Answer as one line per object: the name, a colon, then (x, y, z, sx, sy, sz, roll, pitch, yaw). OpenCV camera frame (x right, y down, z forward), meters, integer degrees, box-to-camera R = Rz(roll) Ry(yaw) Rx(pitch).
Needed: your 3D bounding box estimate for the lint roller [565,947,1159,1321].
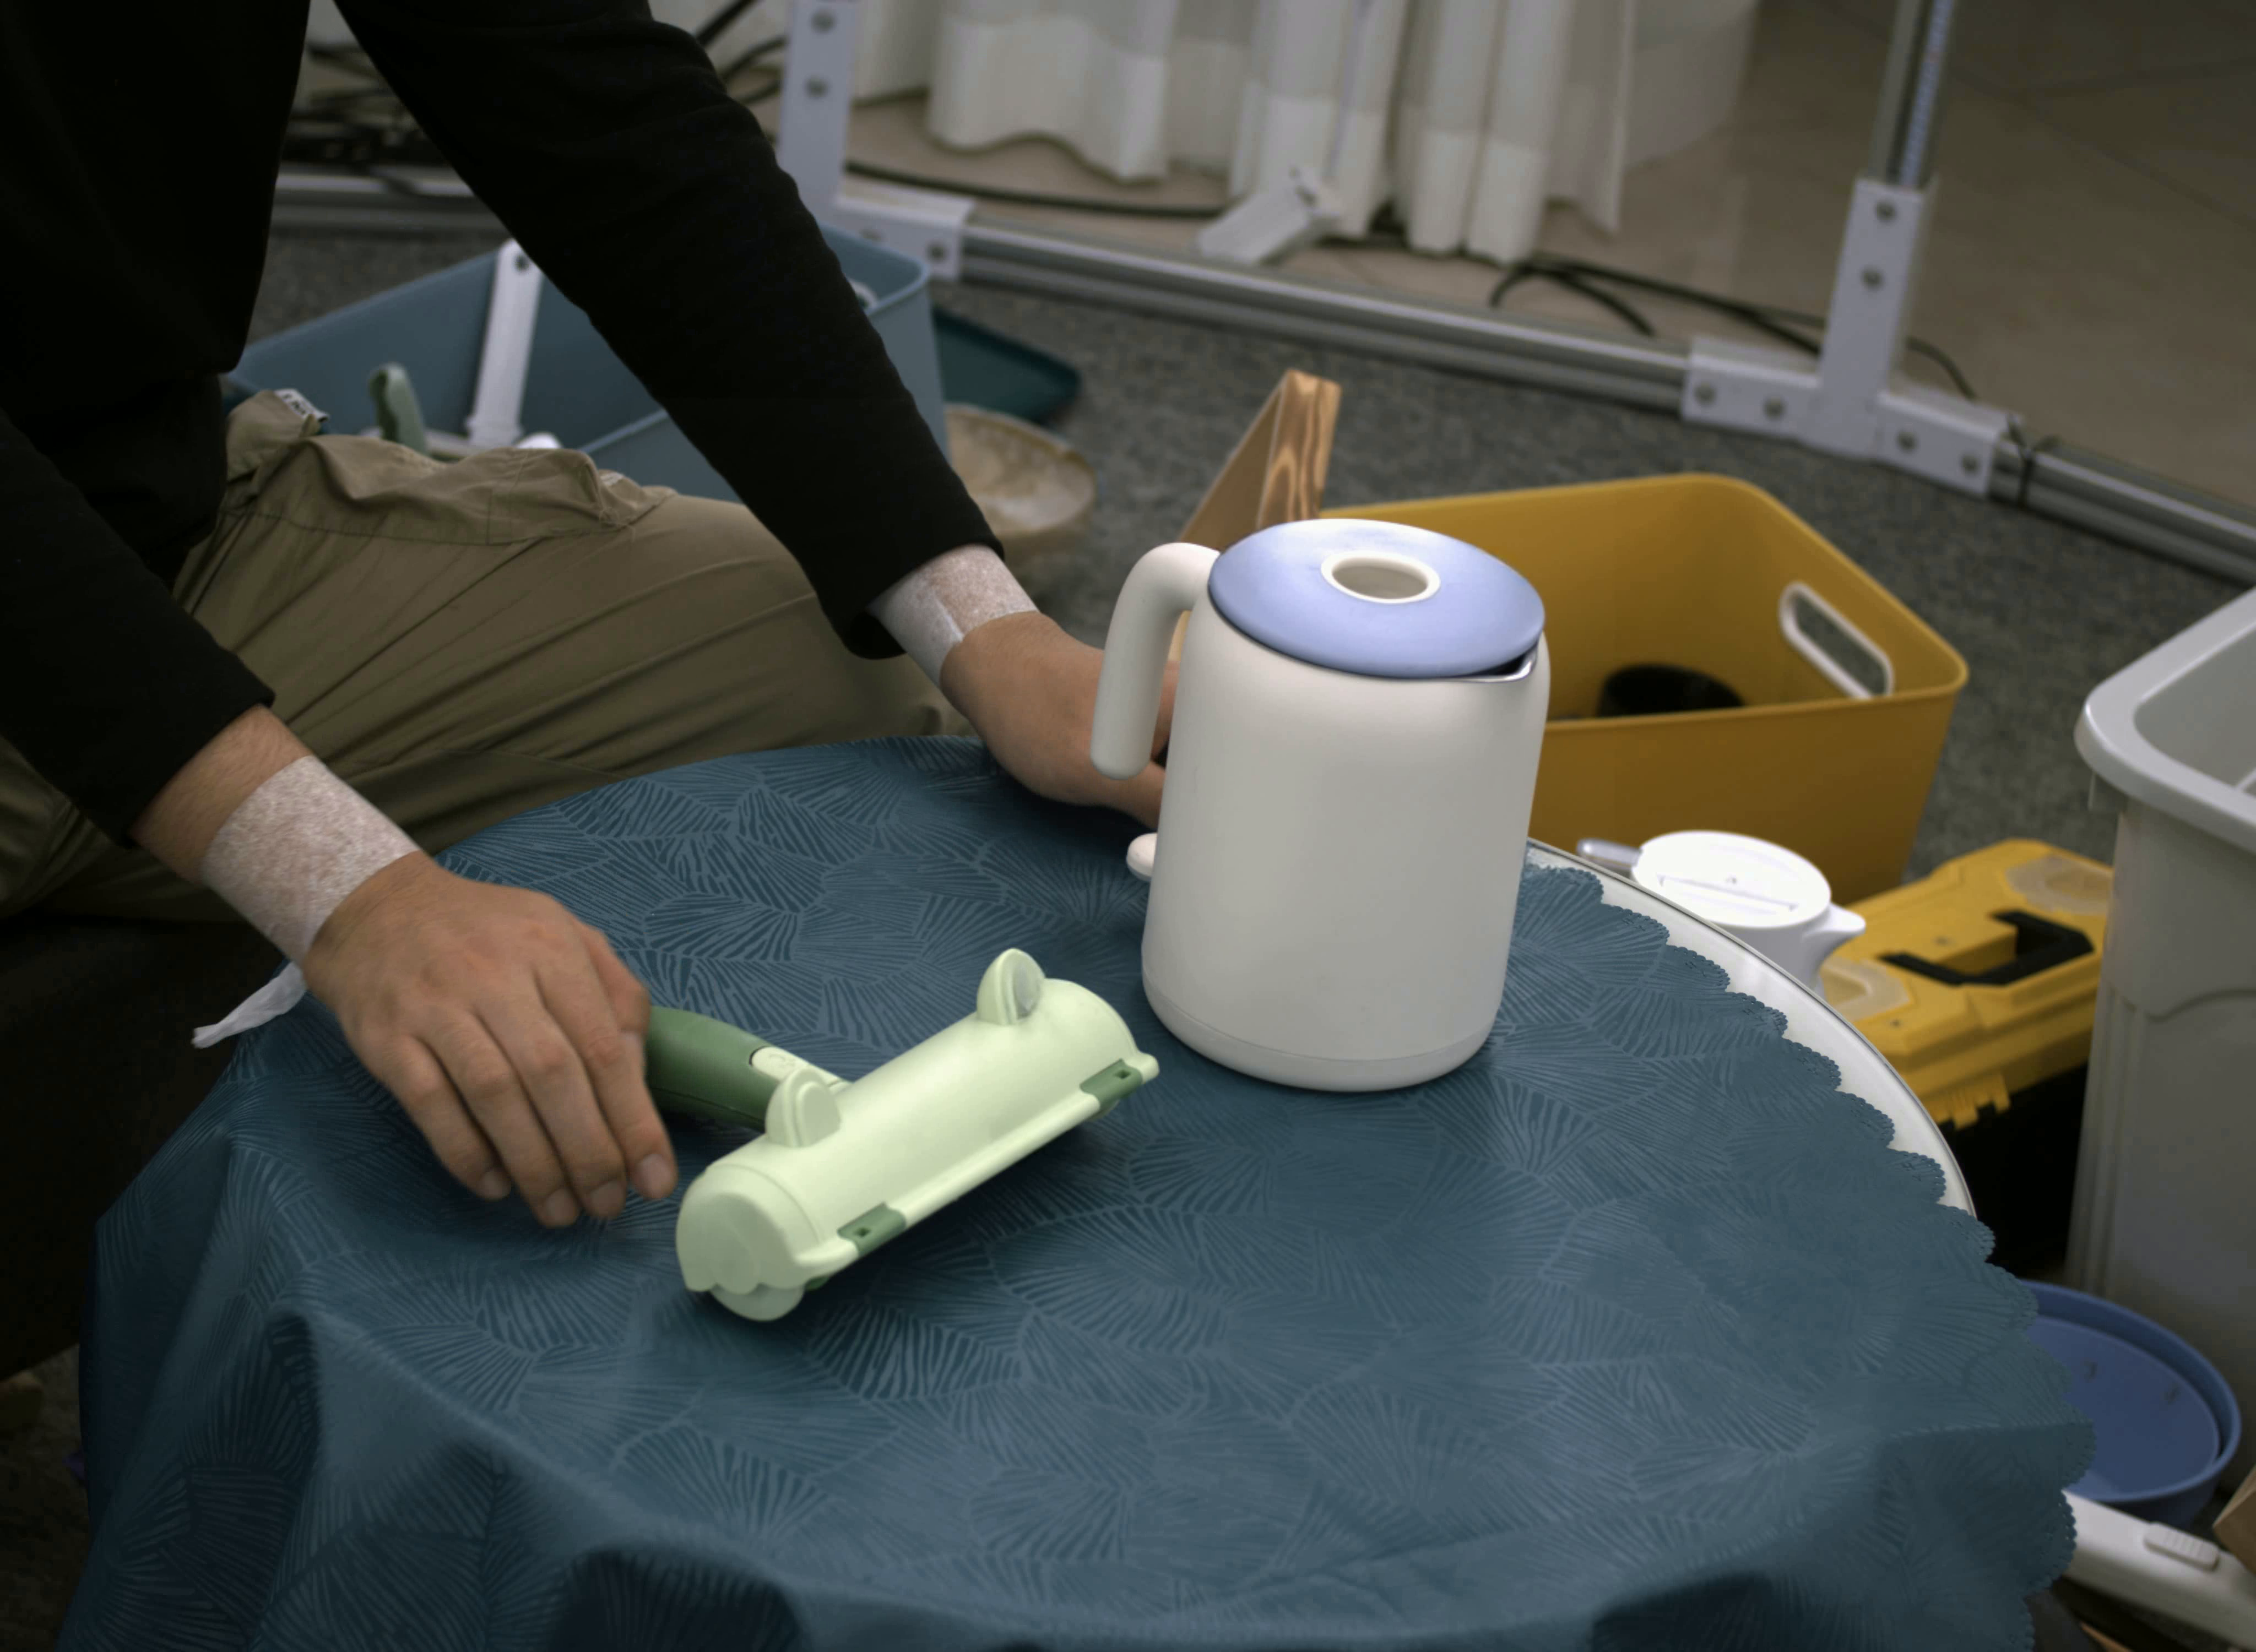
lint roller: (-0.114, 0.078, 1.782, 0.184, 0.082, 0.198, 25, 31, 27)

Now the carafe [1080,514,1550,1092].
carafe: (0.059, -0.017, 1.903, 0.192, 0.182, 0.131, 25, 31, 35)
